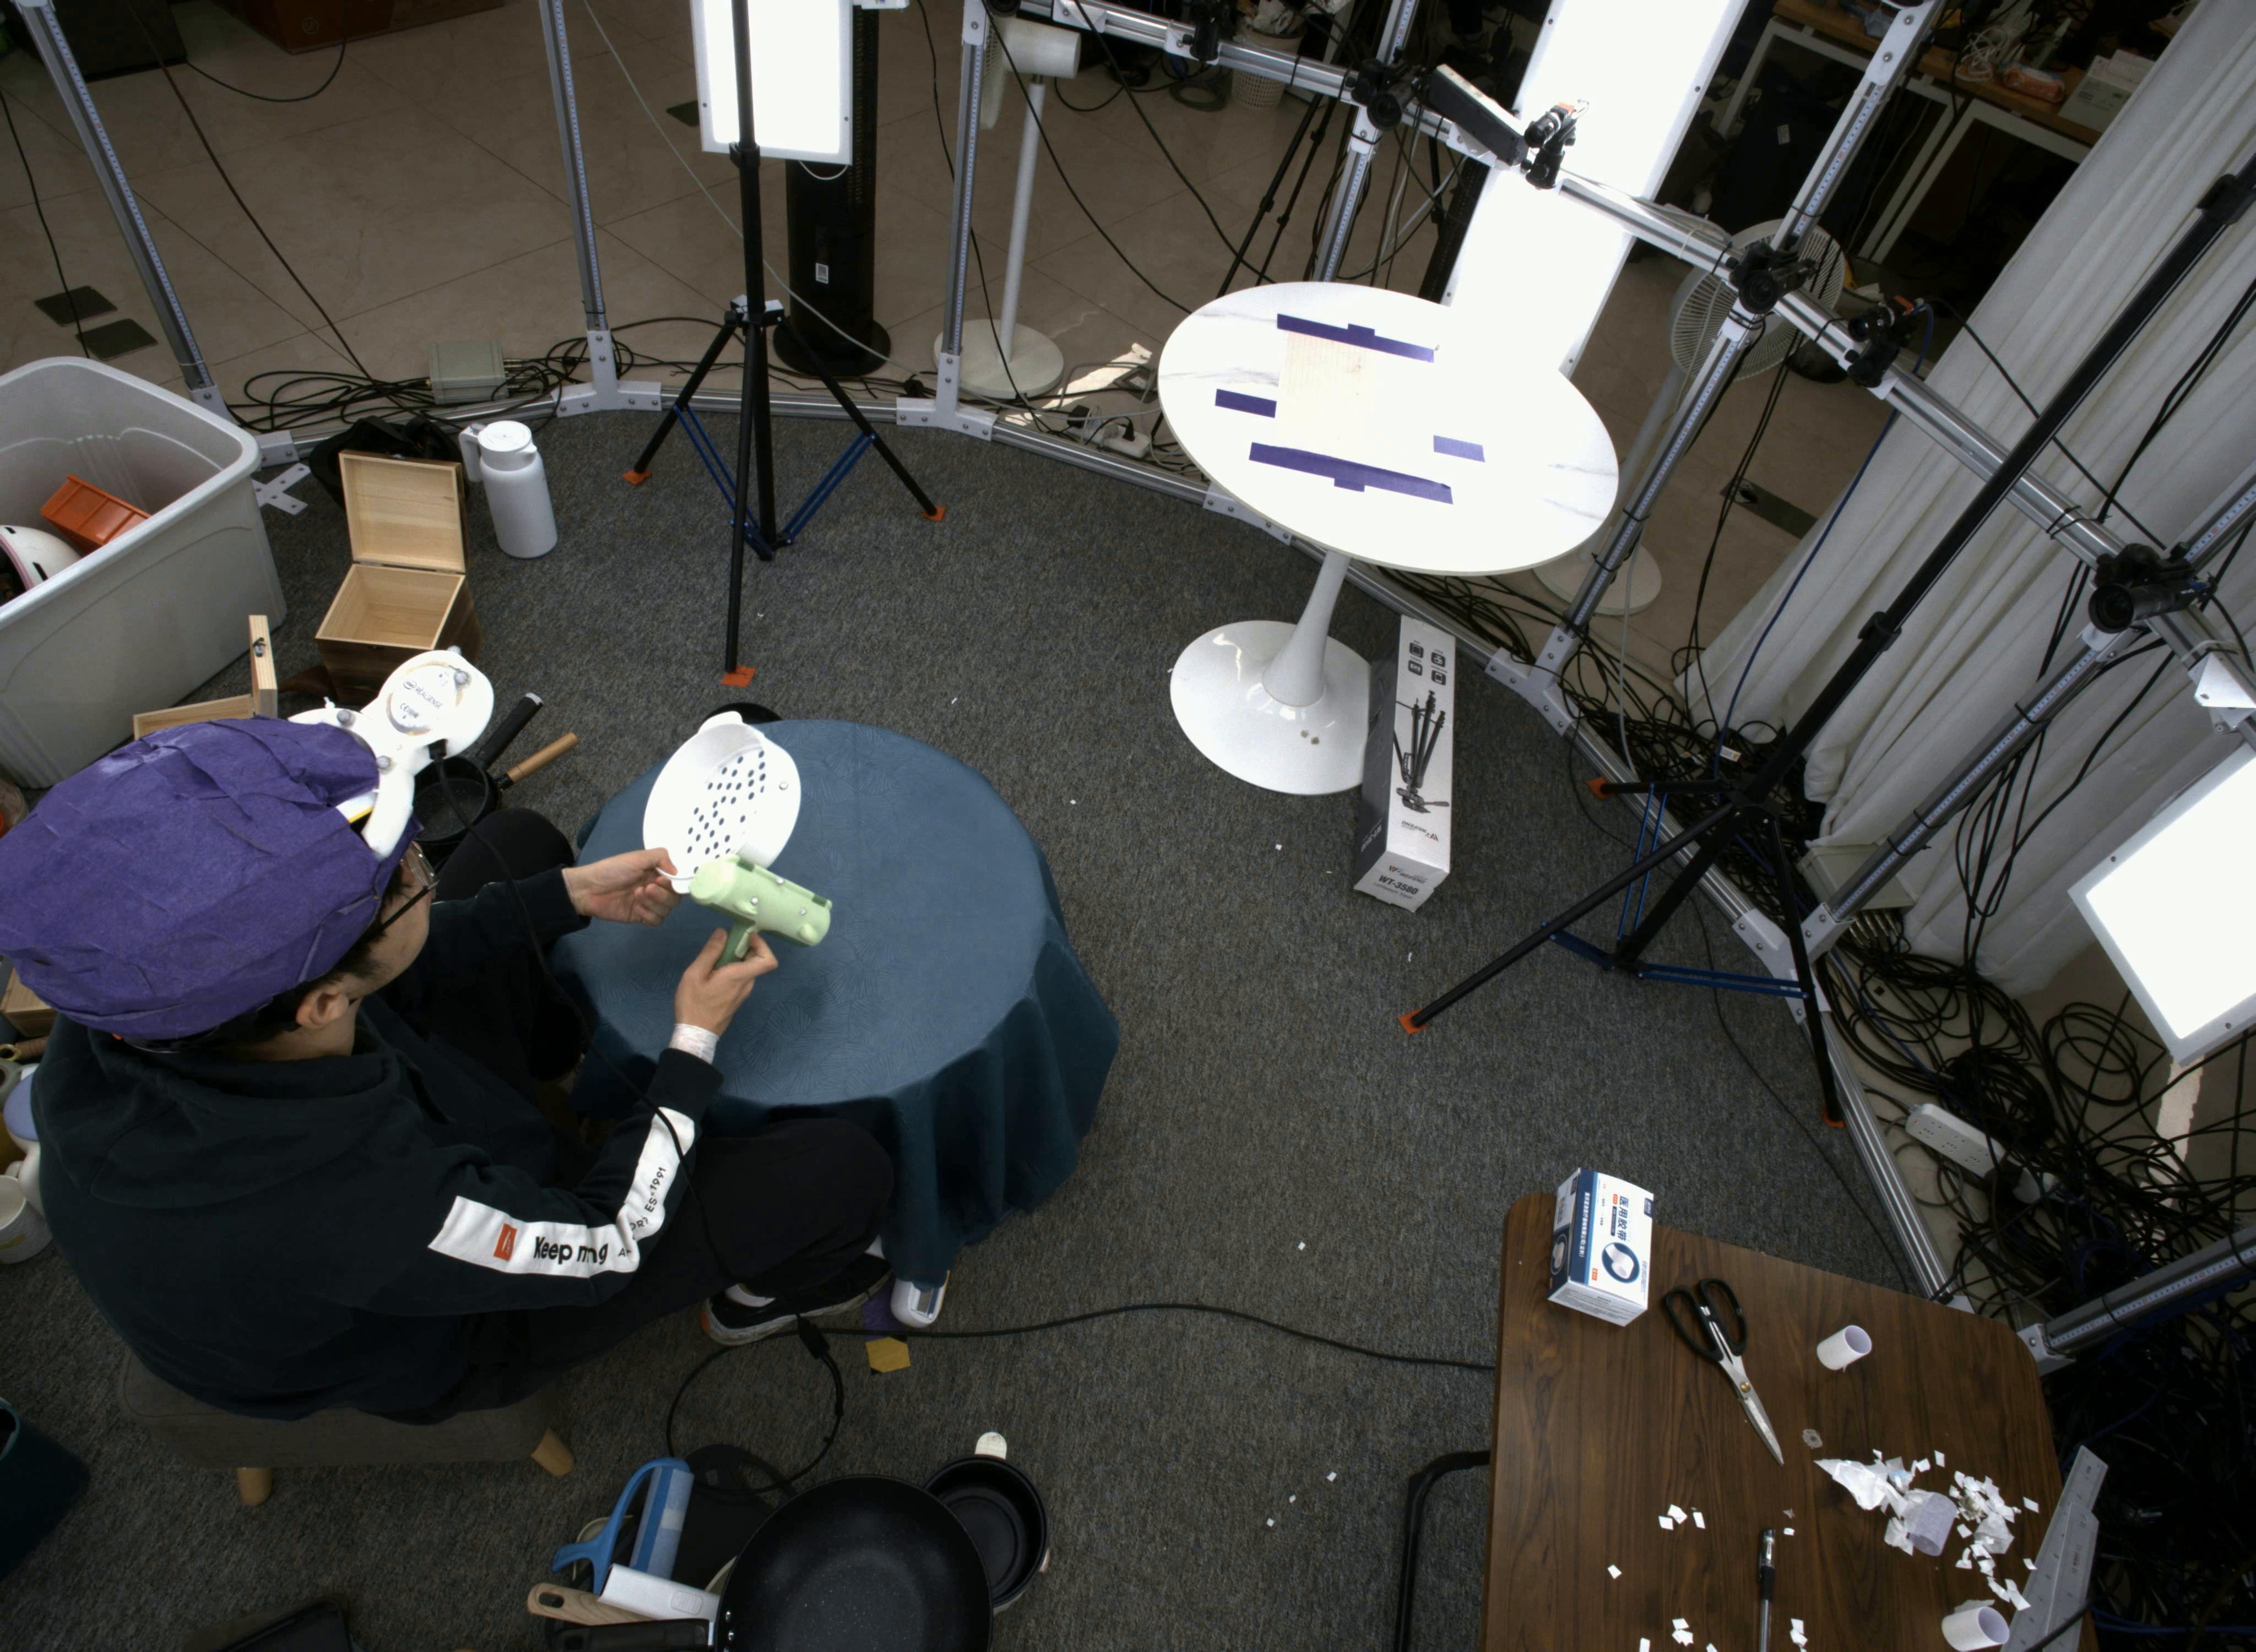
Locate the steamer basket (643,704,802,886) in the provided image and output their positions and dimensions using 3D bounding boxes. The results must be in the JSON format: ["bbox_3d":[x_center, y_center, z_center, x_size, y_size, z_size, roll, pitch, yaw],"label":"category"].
[{"bbox_3d":[-0.476,-0.028,1.516,0.197,0.072,0.228,-12,61,24],"label":"steamer basket"}]

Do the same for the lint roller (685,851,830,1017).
[{"bbox_3d":[-0.437,0.140,1.470,0.079,0.205,0.184,20,80,30],"label":"lint roller"}]
